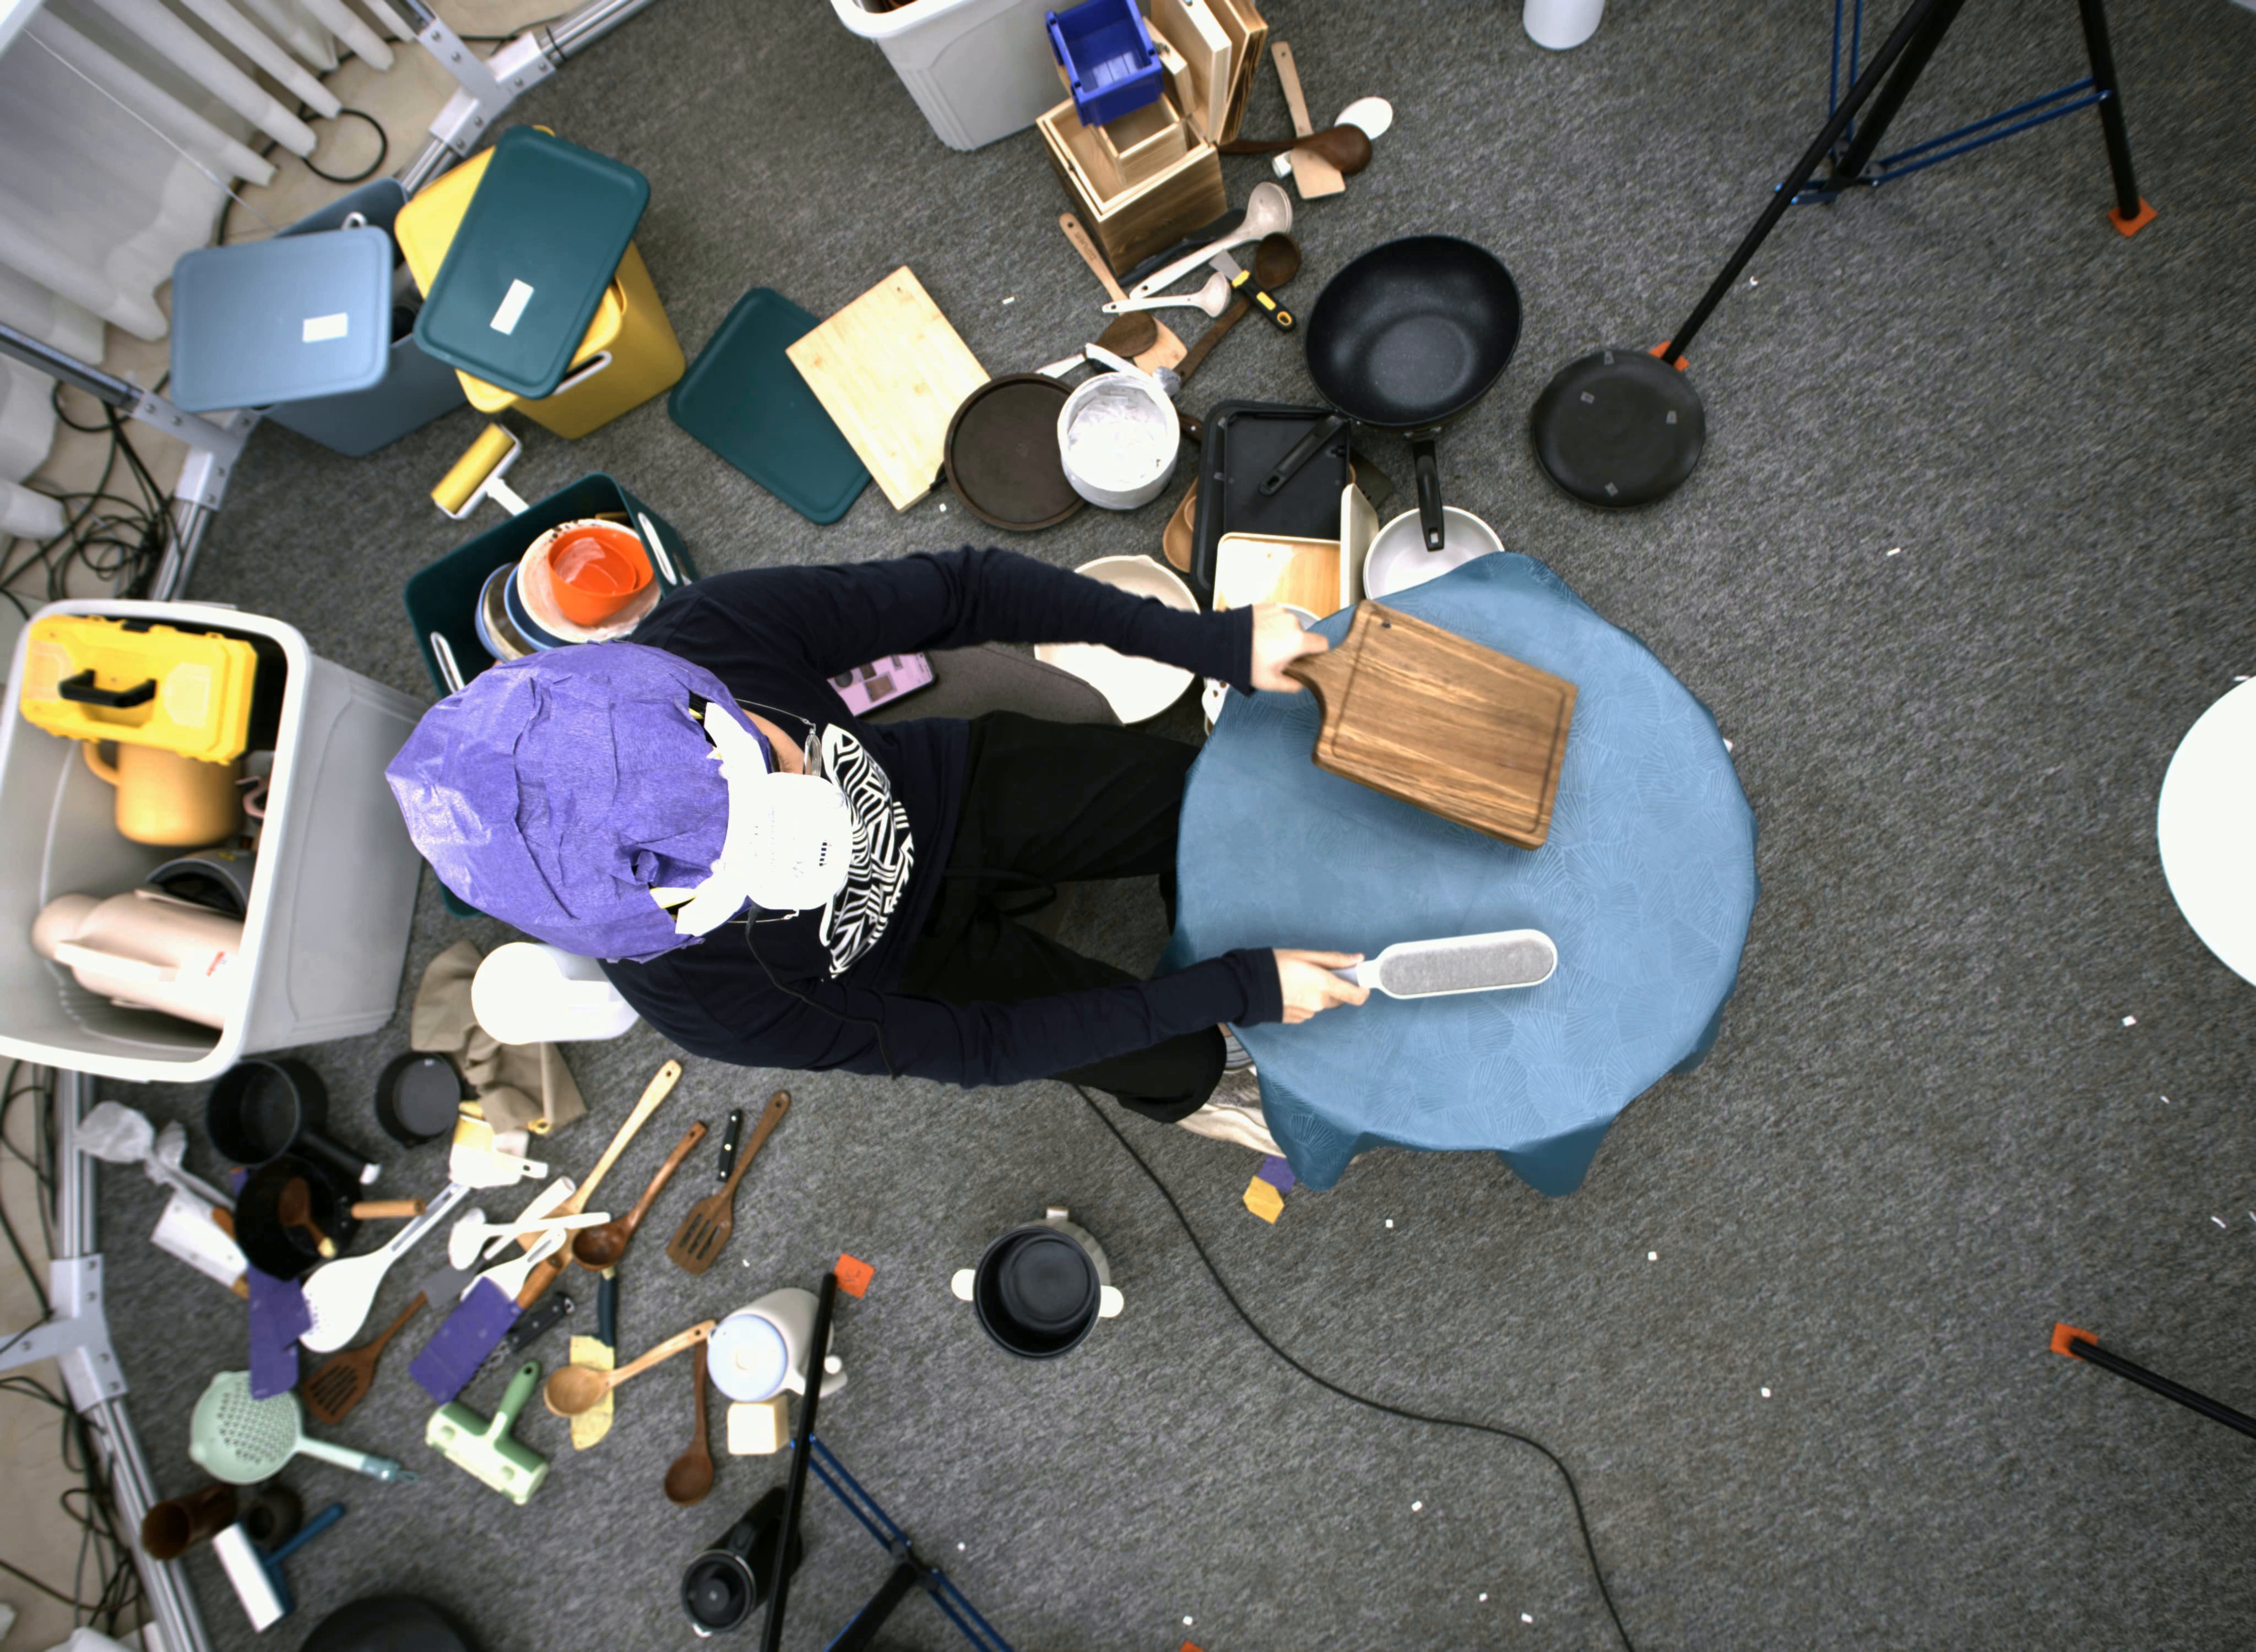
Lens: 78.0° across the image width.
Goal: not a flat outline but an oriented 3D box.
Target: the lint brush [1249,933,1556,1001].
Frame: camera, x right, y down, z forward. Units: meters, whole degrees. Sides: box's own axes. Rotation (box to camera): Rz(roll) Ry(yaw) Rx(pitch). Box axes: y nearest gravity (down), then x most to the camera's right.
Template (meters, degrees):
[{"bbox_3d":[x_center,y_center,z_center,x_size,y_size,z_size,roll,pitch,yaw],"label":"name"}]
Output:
[{"bbox_3d":[0.275,0.147,1.398,0.310,0.020,0.061,-8,112,12],"label":"lint brush"}]

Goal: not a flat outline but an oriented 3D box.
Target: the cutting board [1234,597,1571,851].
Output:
[{"bbox_3d":[0.272,-0.125,1.379,0.352,0.023,0.197,22,69,-5],"label":"cutting board"}]
